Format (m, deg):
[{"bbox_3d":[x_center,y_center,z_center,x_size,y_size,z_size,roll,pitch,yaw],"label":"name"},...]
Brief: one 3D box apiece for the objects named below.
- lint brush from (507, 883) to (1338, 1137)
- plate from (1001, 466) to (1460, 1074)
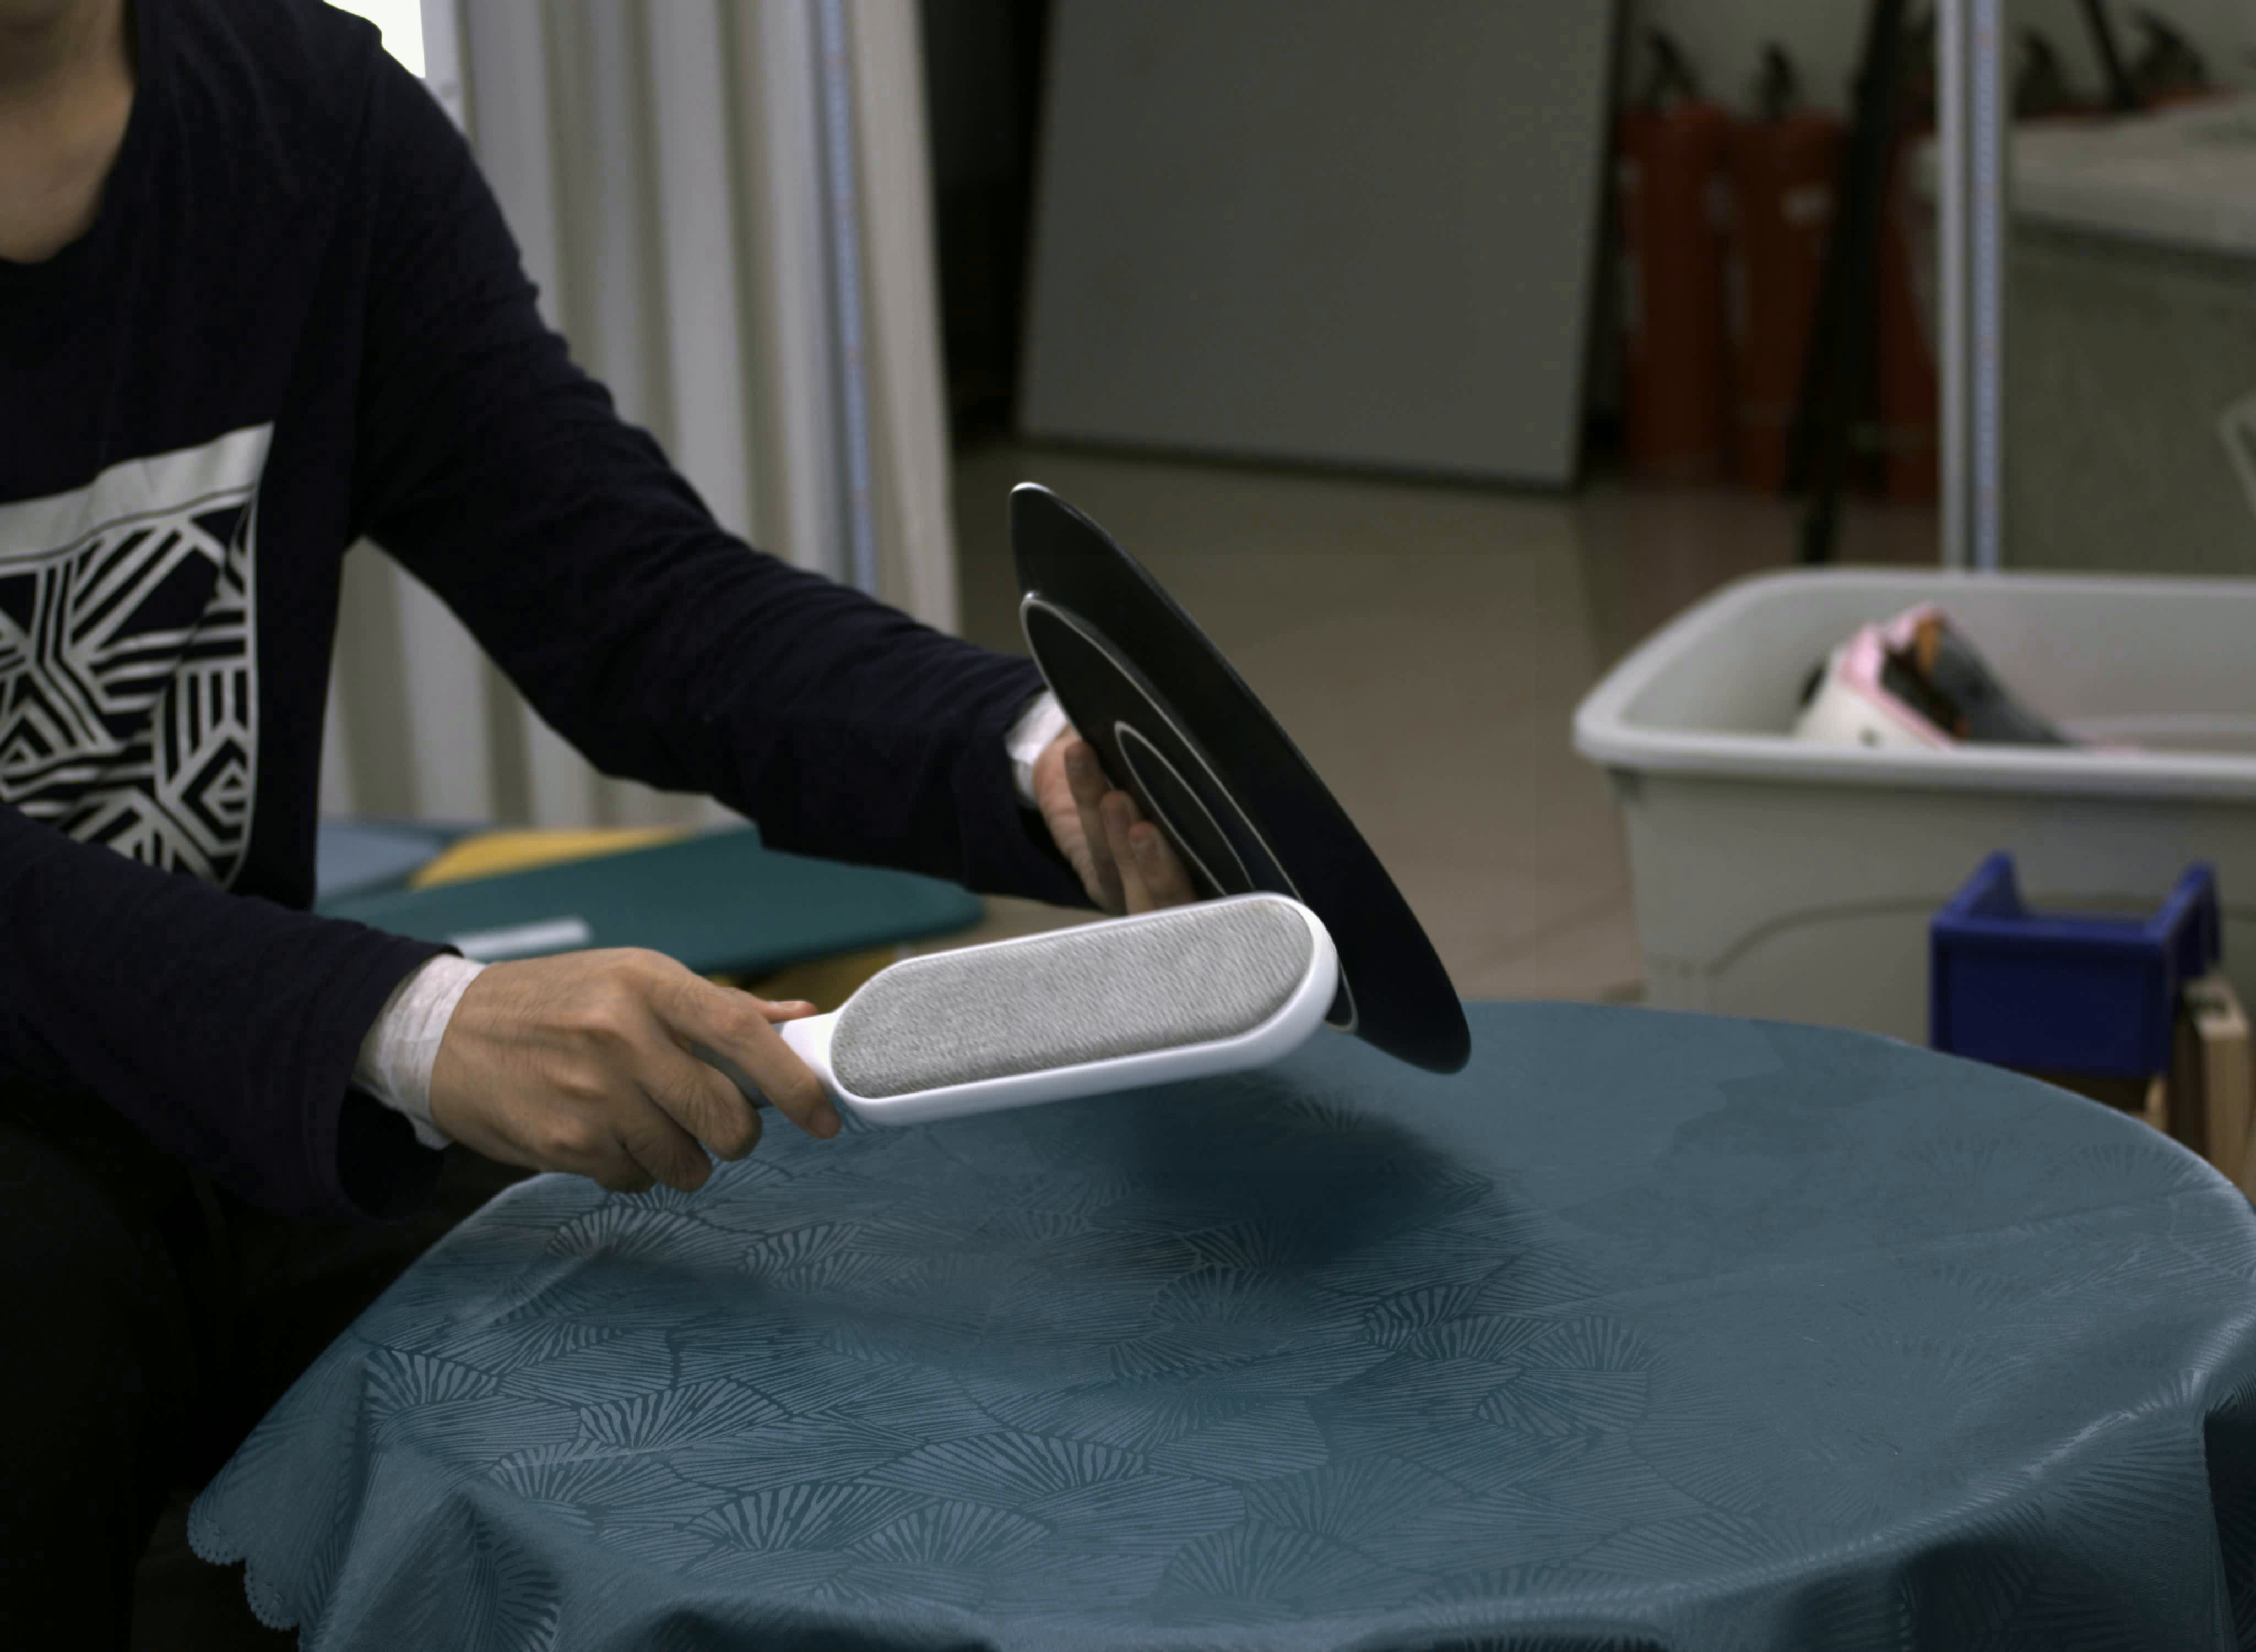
[{"bbox_3d":[-0.069,0.063,1.680,0.310,0.060,0.020,-11,-35,31],"label":"lint brush"},{"bbox_3d":[0.026,-0.012,1.769,0.023,0.244,0.246,-36,21,-10],"label":"plate"}]
